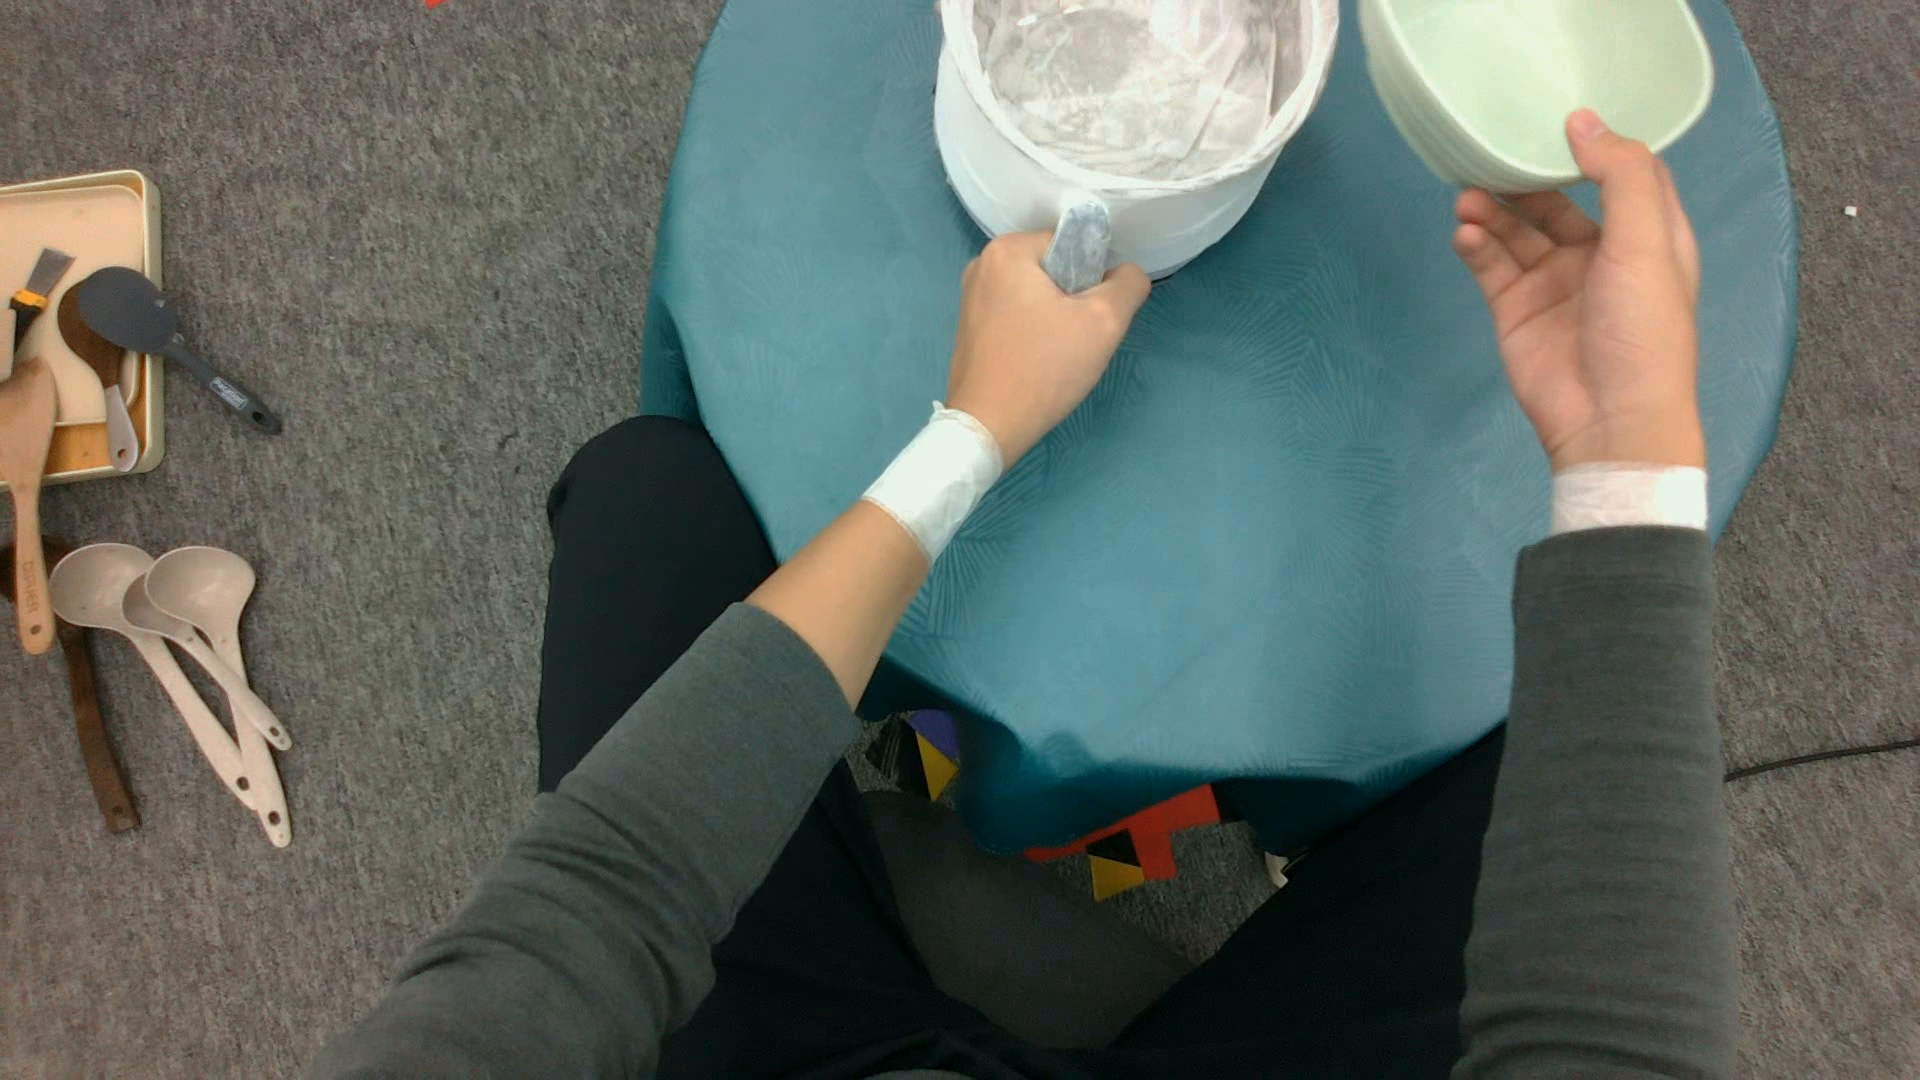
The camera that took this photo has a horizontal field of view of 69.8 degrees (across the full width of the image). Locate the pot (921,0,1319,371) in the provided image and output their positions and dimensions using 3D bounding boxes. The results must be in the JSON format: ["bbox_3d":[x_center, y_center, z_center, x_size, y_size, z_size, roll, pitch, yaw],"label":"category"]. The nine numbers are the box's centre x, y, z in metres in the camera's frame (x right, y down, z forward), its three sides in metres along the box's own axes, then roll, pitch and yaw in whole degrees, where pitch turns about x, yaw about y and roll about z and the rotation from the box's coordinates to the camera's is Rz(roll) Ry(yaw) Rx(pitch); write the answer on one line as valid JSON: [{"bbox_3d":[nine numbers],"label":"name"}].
[{"bbox_3d":[0.064,-0.203,0.670,0.179,0.136,0.234,13,79,0],"label":"pot"}]

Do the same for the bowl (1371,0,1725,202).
[{"bbox_3d":[0.242,-0.202,0.594,0.151,0.058,0.152,1,73,-5],"label":"bowl"}]
